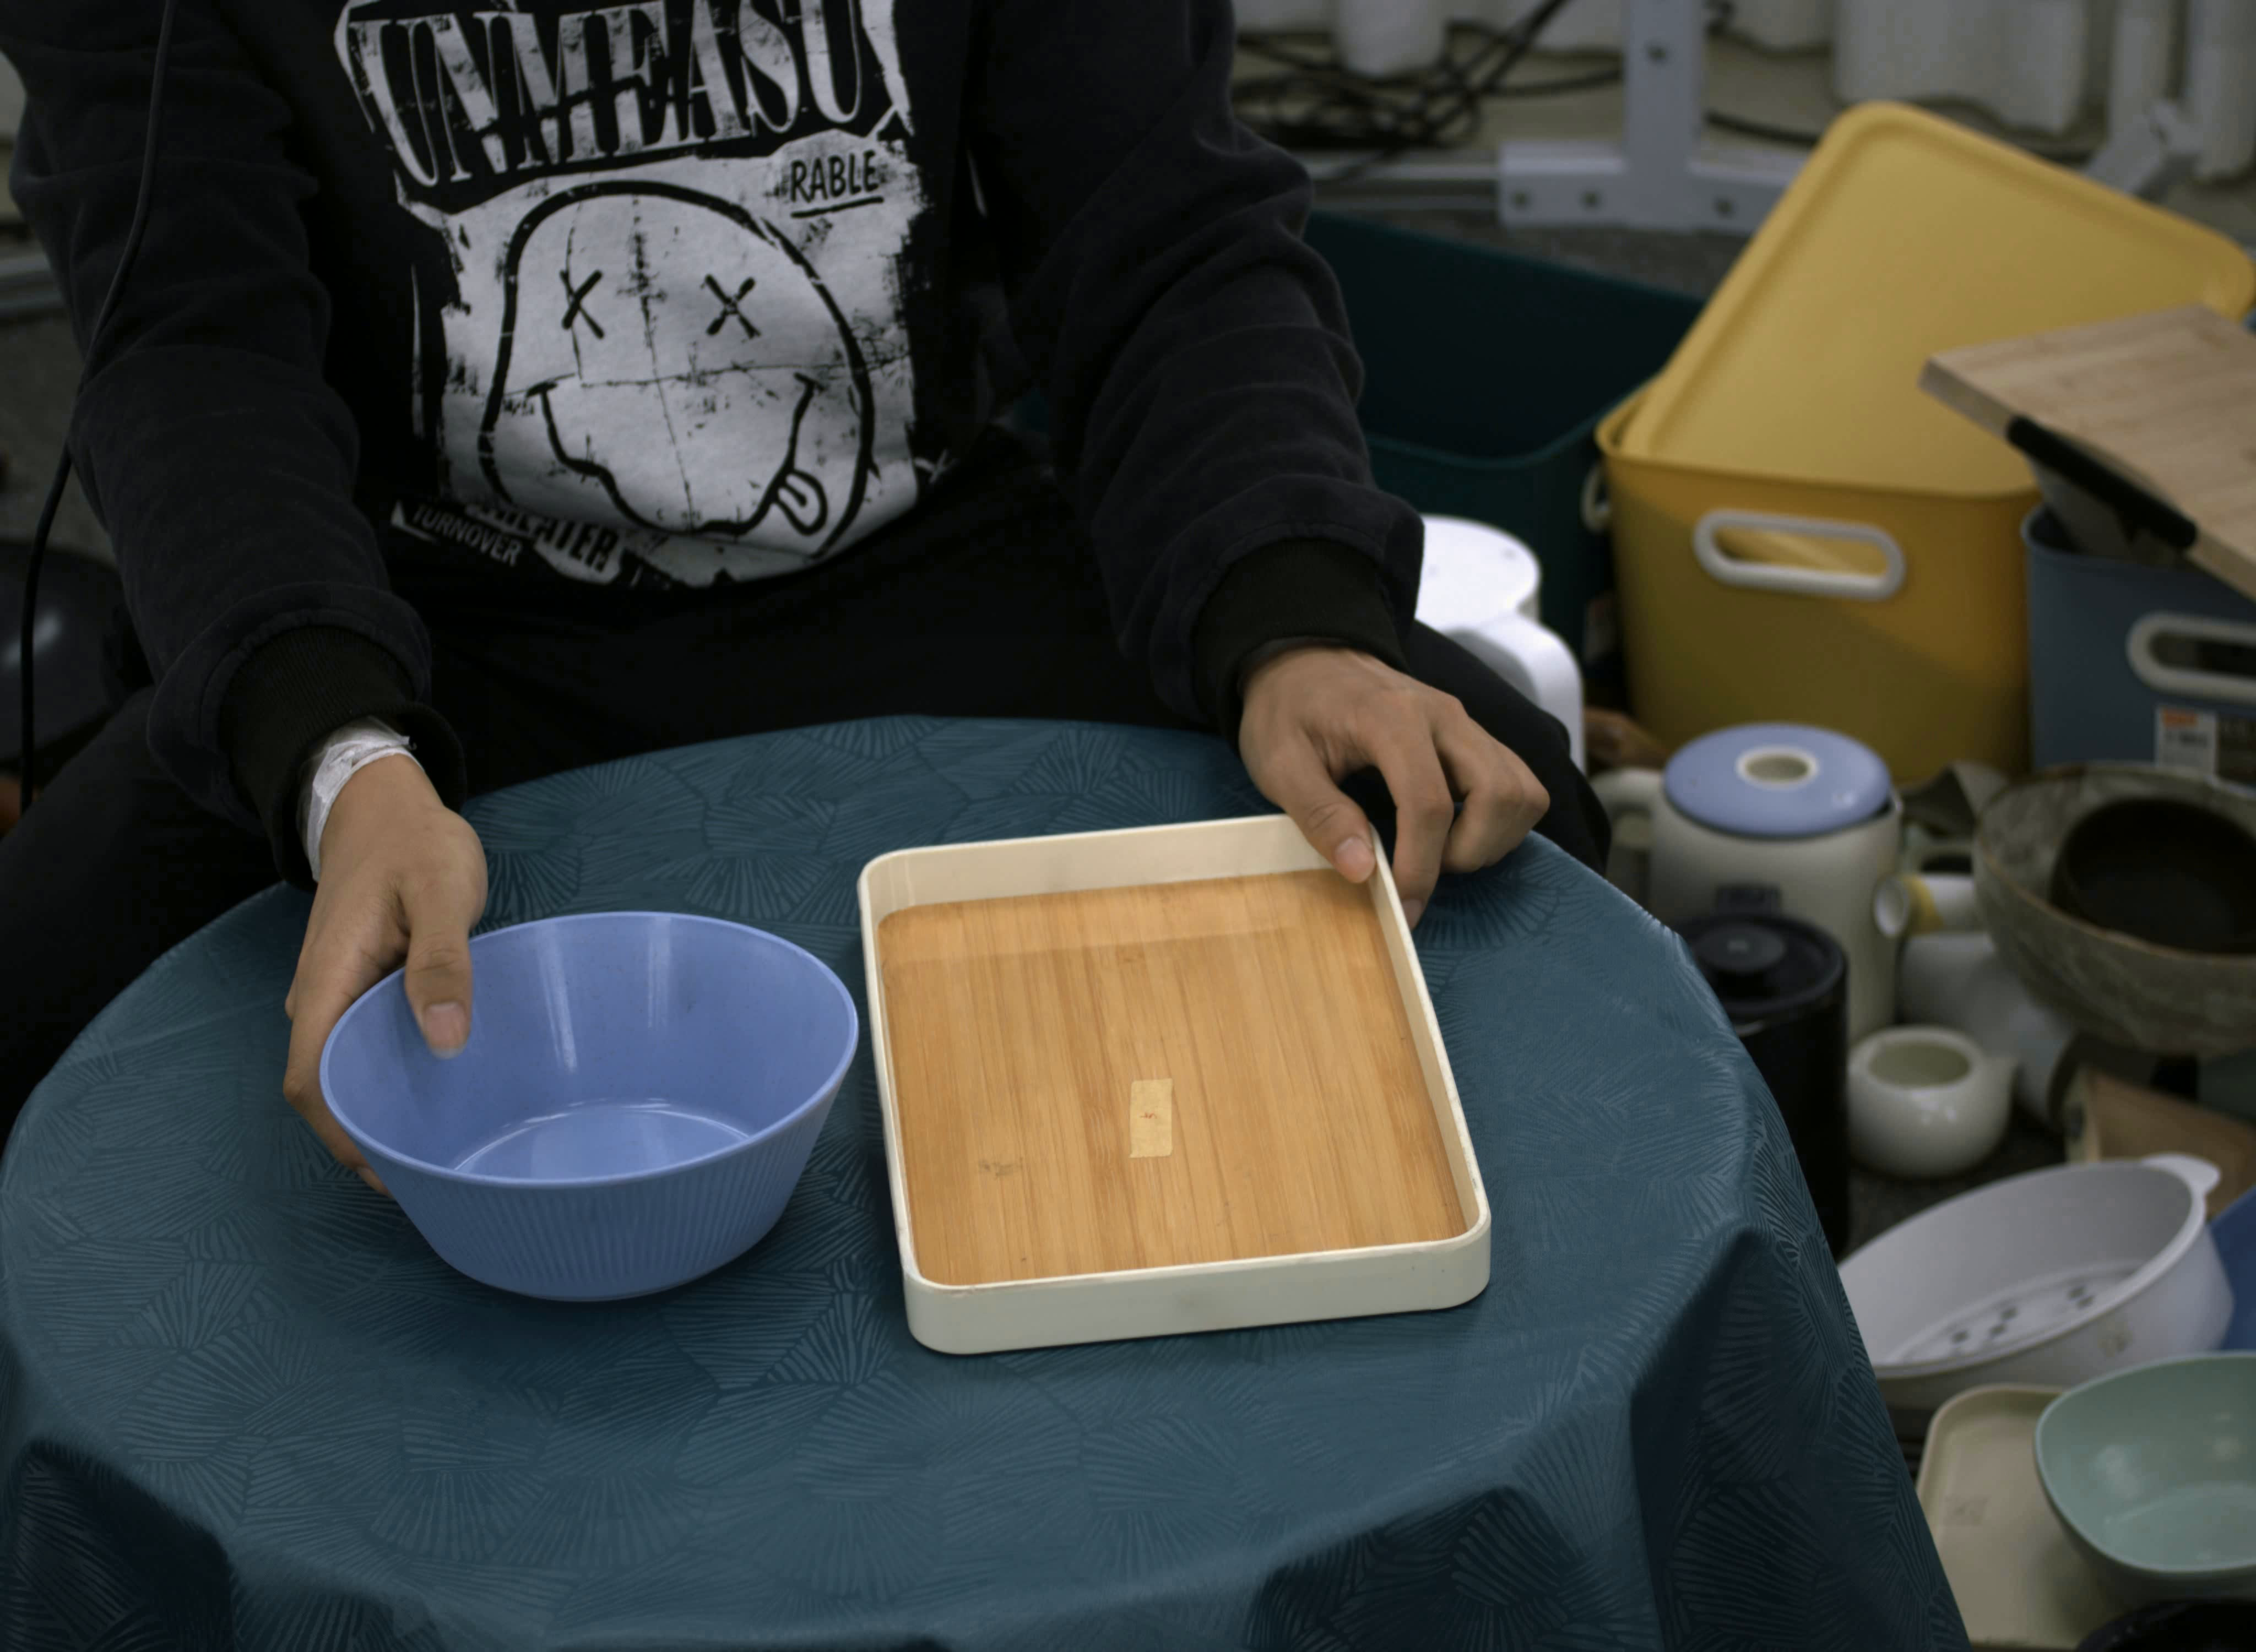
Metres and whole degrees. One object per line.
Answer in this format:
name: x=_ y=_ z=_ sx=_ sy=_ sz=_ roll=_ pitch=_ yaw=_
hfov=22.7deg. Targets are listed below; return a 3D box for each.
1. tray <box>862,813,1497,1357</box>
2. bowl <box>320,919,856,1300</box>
tray: x=0.012 y=0.082 z=1.908 sx=0.191 sy=0.027 sz=0.304 roll=-5 pitch=28 yaw=-3
bowl: x=-0.175 y=0.099 z=1.845 sx=0.175 sy=0.069 sz=0.179 roll=-1 pitch=26 yaw=1
